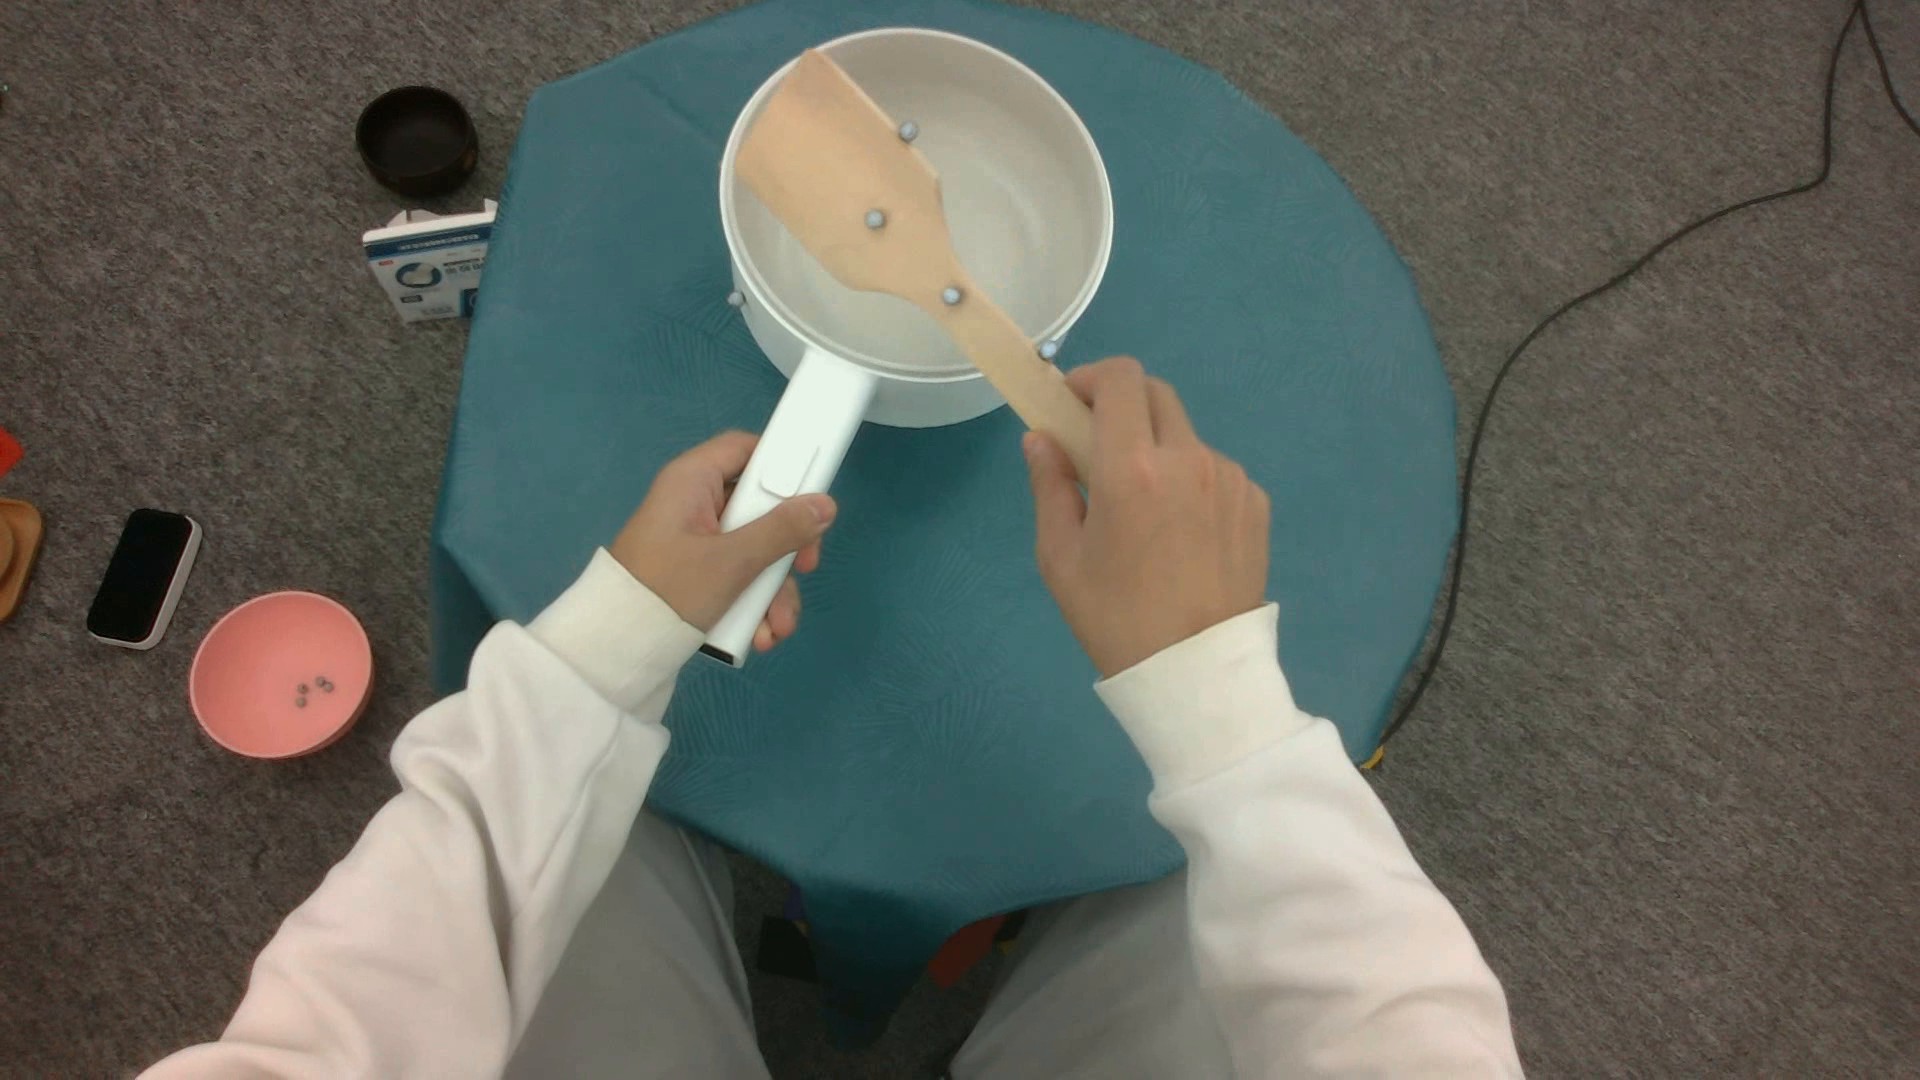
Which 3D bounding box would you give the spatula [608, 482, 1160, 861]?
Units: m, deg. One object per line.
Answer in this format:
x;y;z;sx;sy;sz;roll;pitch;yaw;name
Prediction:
-0.039;0.064;0.637;0.293;0.072;0.011;28;15;16;spatula

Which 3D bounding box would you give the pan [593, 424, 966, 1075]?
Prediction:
-0.109;0.106;0.744;0.201;0.101;0.356;8;58;0;pan
